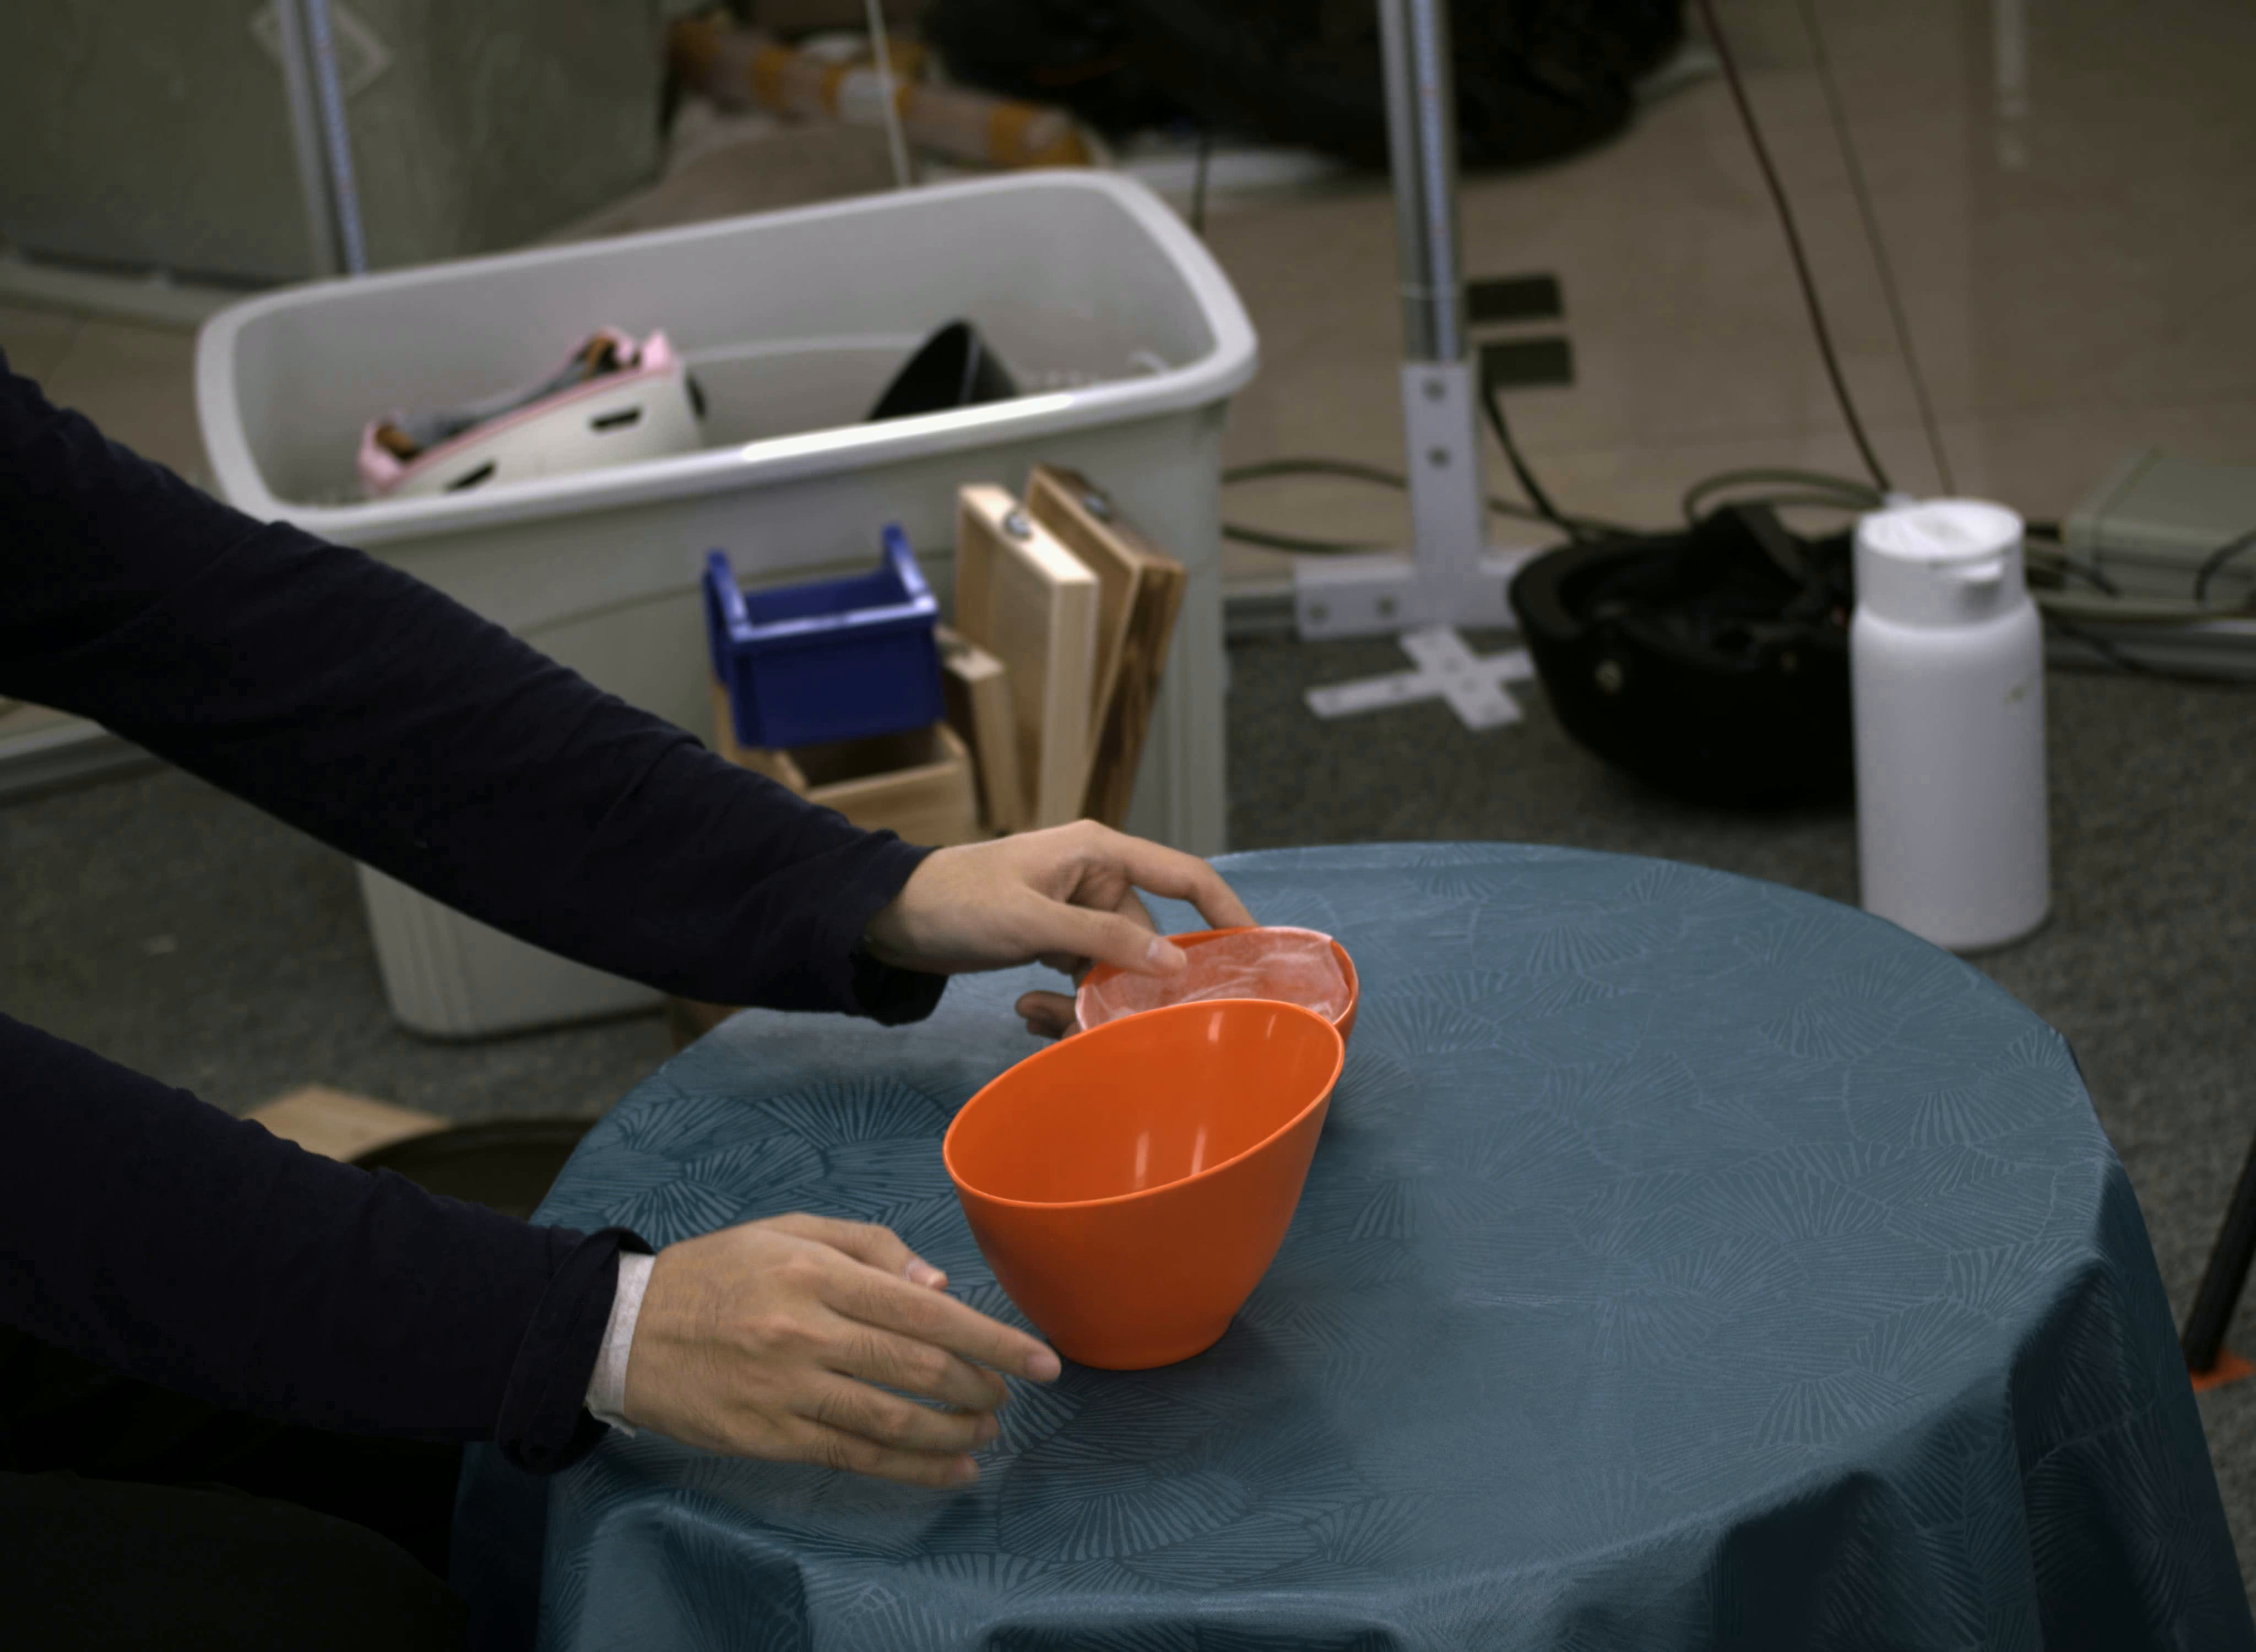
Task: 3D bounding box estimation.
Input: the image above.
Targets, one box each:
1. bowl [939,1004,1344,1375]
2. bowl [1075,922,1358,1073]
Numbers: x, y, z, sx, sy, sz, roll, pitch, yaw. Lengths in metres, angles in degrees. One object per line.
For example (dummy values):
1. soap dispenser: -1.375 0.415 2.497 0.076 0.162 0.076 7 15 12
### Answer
1. bowl: 0.008 0.136 2.034 0.148 0.106 0.146 -5 26 3
2. bowl: 0.036 0.085 2.197 0.119 0.052 0.117 -5 27 2
